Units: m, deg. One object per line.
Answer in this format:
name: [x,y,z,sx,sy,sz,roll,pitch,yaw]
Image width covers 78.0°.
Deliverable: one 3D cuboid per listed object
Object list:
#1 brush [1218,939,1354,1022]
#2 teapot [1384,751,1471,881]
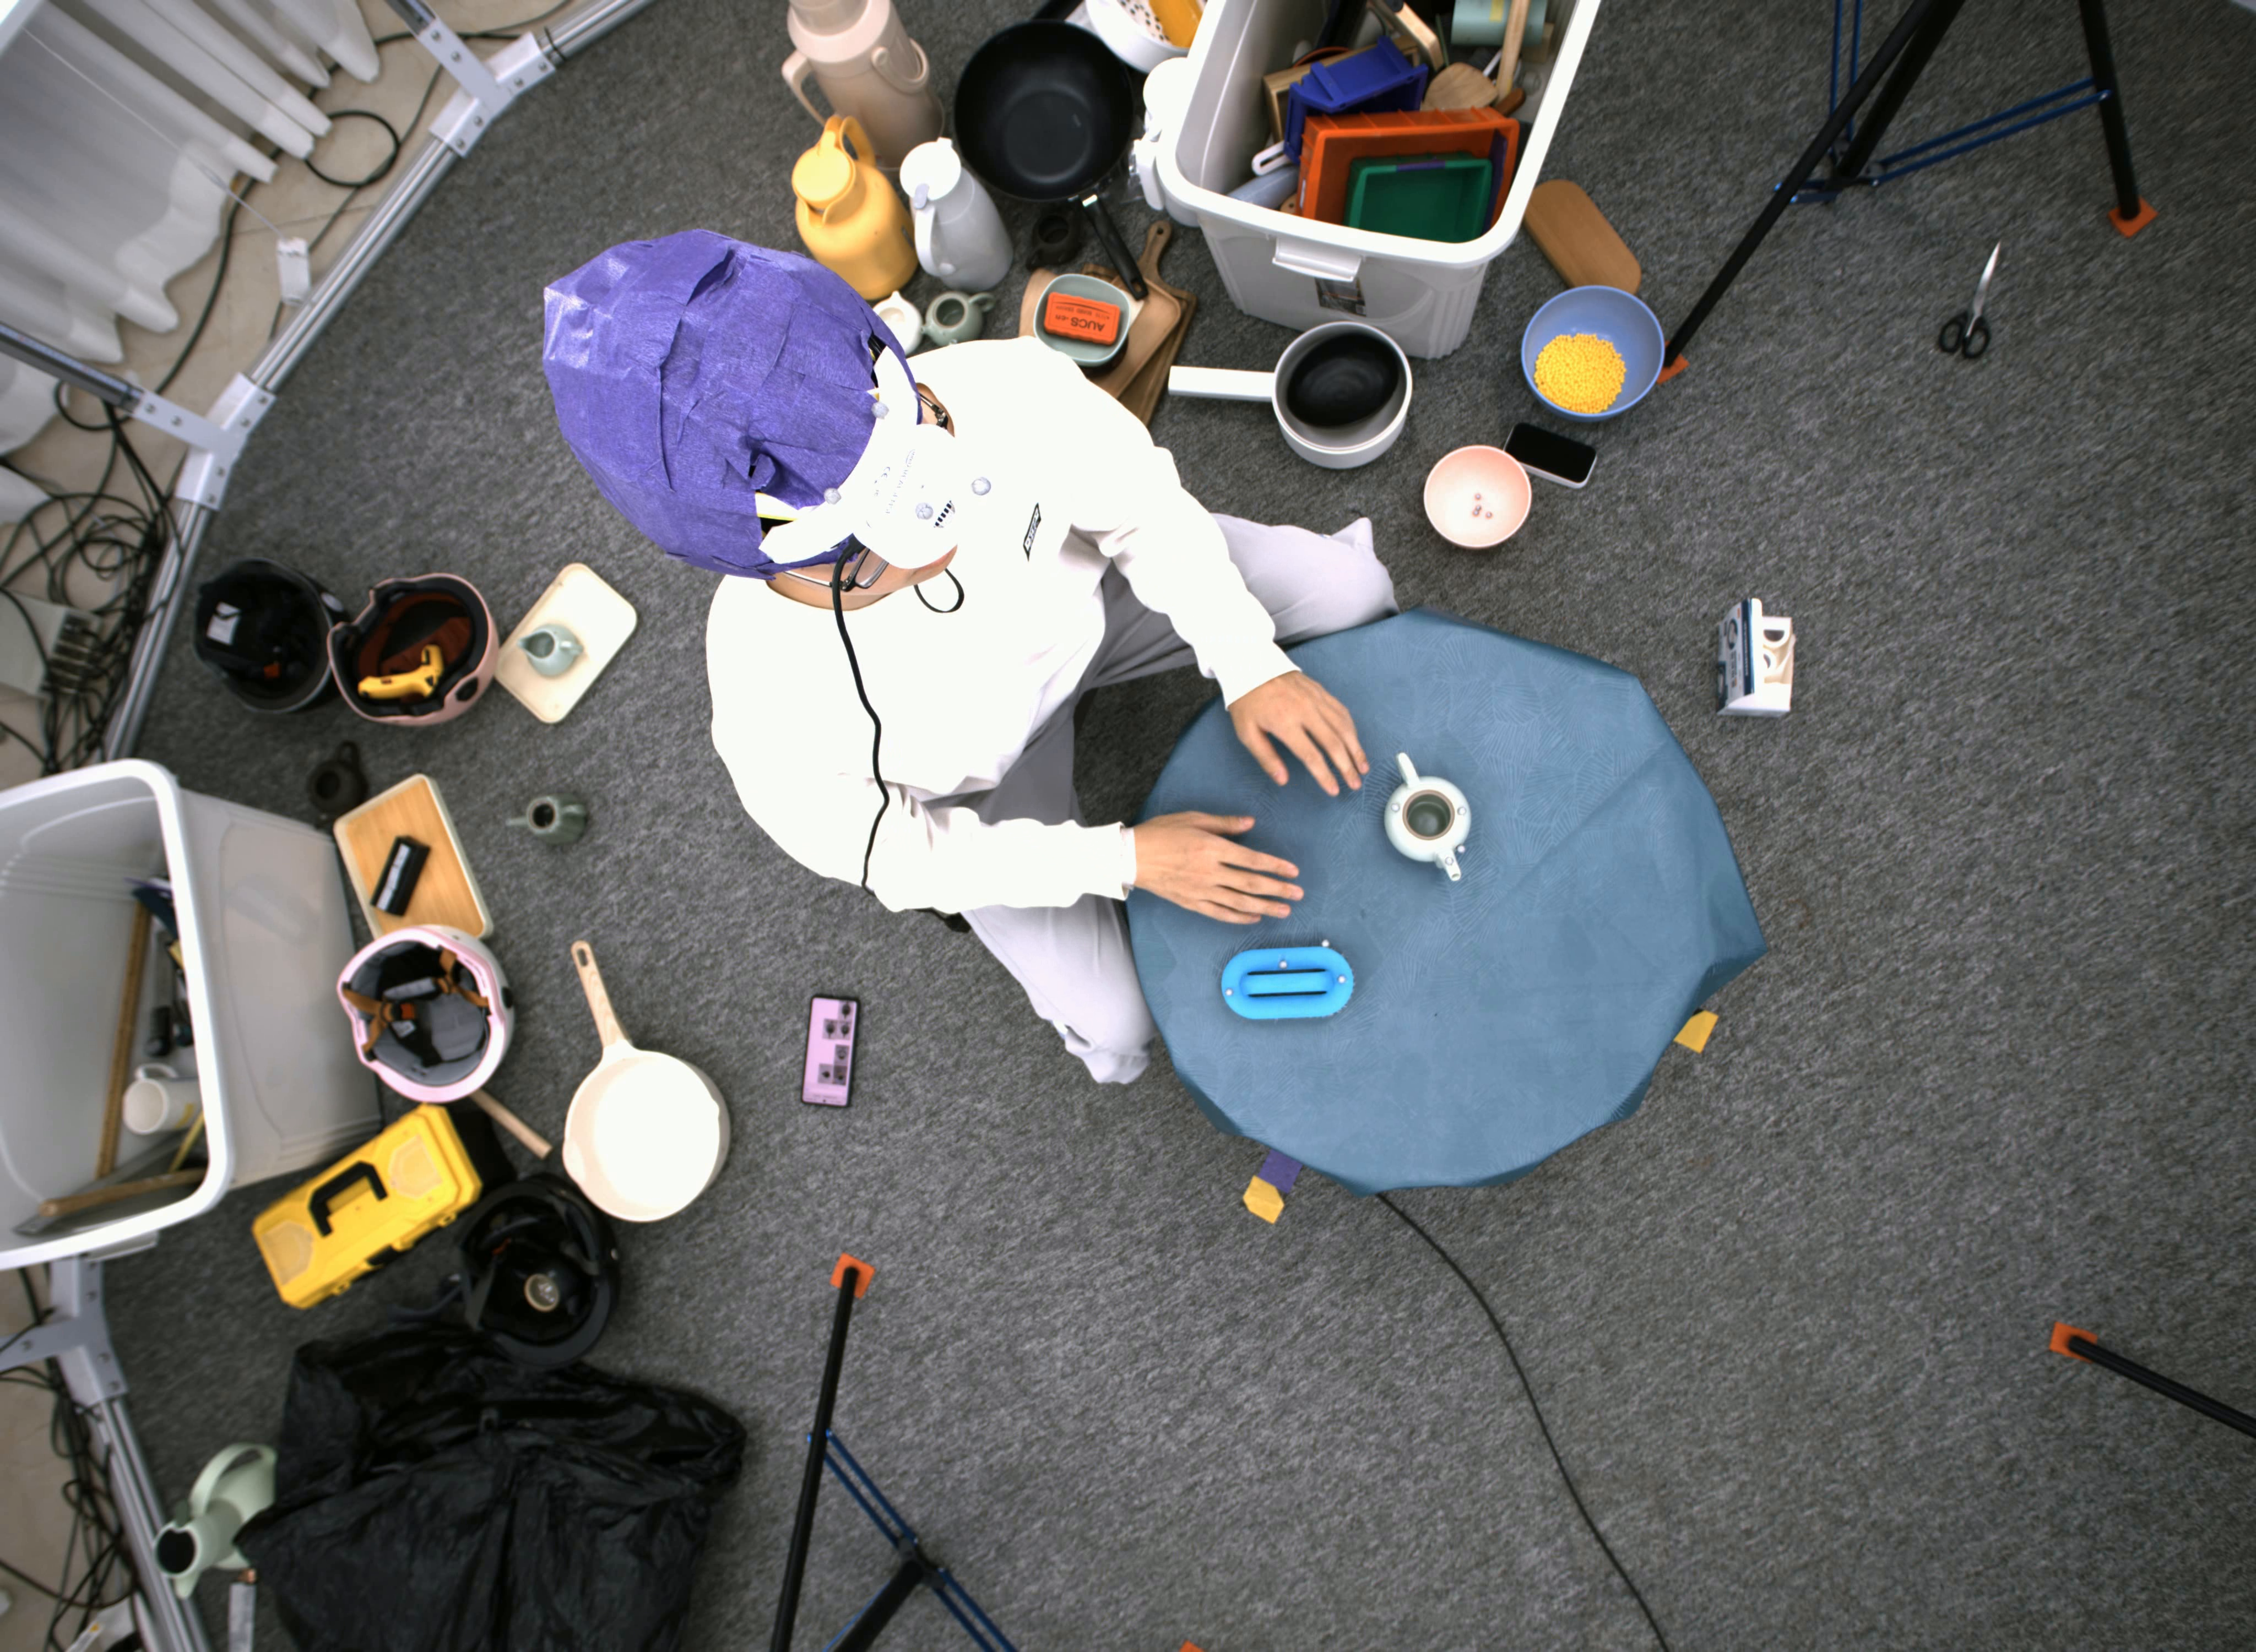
brush: [0.163,0.161,1.441,0.142,0.063,0.084,-2,90,11]
teapot: [0.309,-0.011,1.420,0.089,0.074,0.143,-22,85,10]
